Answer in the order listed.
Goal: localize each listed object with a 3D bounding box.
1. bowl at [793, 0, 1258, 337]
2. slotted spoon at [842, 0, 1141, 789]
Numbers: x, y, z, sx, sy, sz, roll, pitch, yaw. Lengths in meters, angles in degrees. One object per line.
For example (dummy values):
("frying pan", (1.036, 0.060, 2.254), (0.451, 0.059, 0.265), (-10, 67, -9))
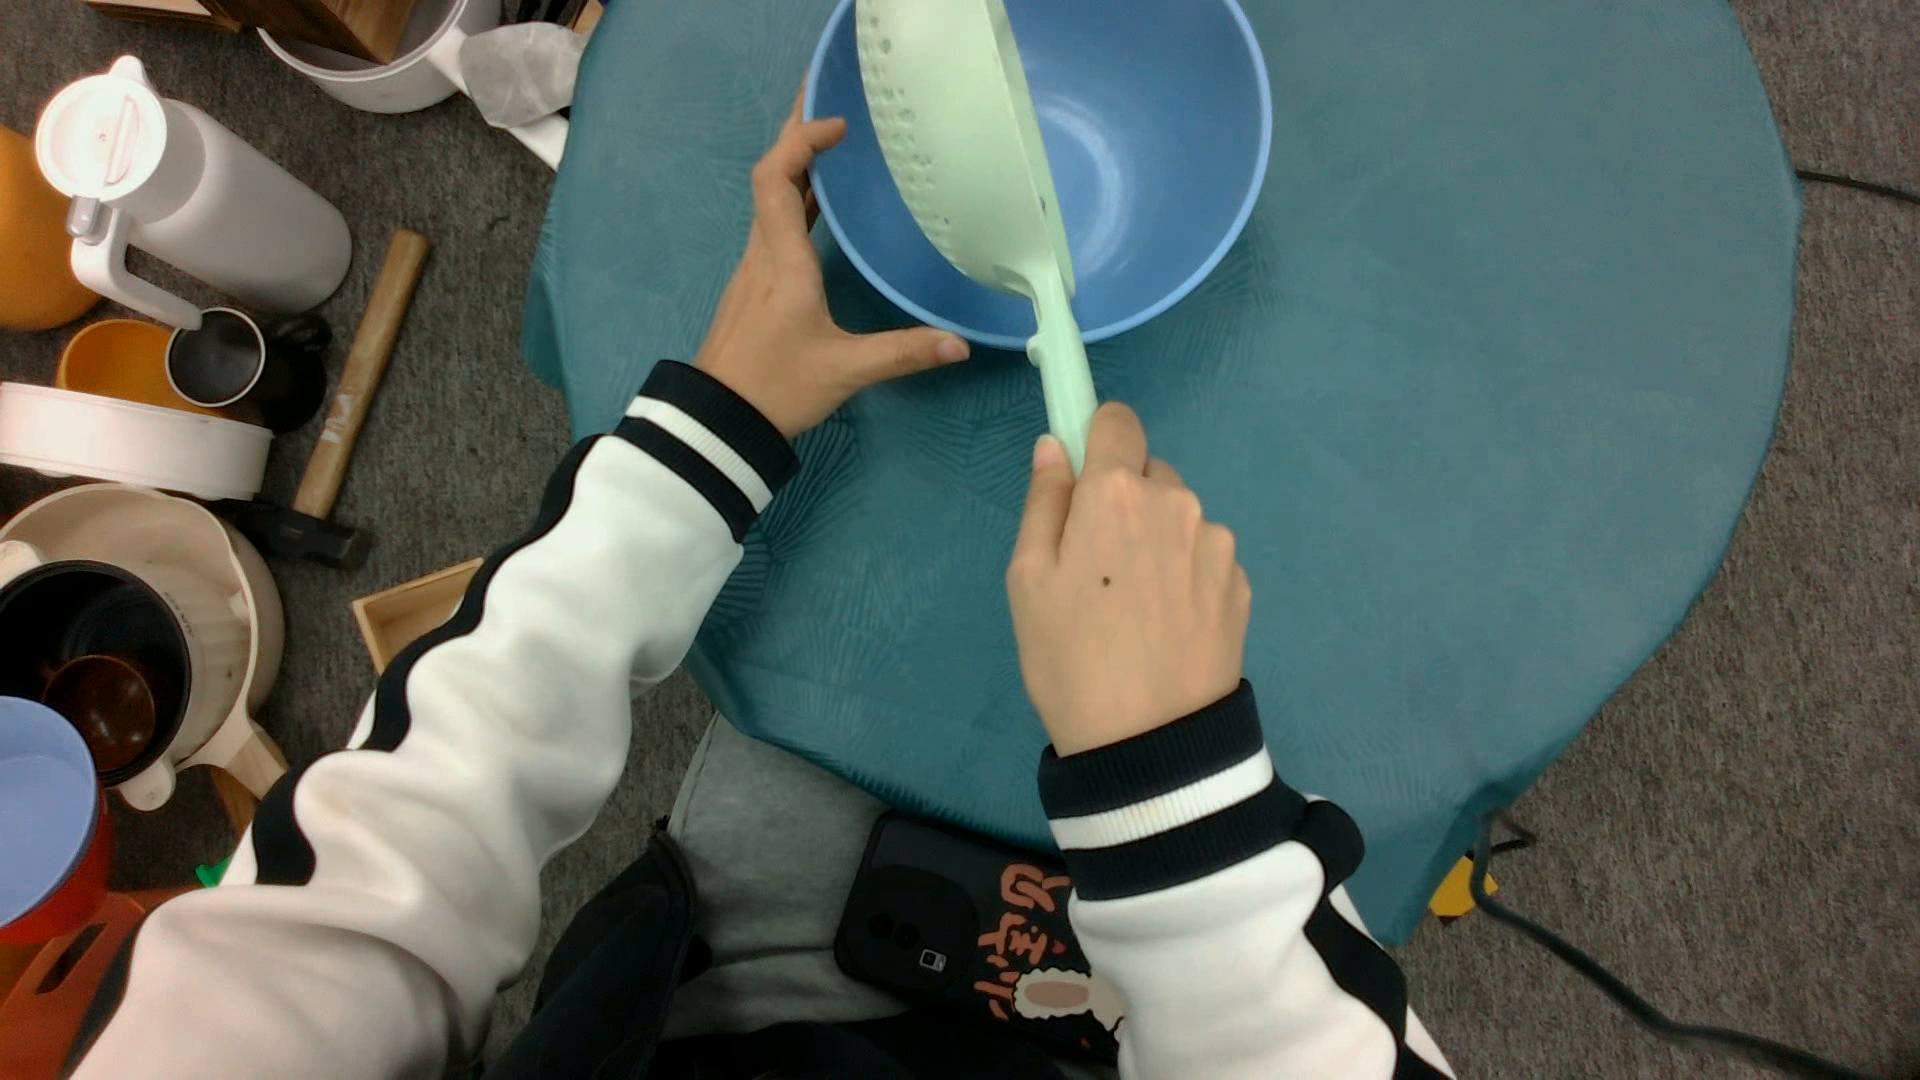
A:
("bowl", (0.028, -0.178, 0.625), (0.196, 0.095, 0.196), (0, 83, 1))
("slotted spoon", (0.021, -0.091, 0.503), (0.075, 0.169, 0.359), (-22, 67, 7))
